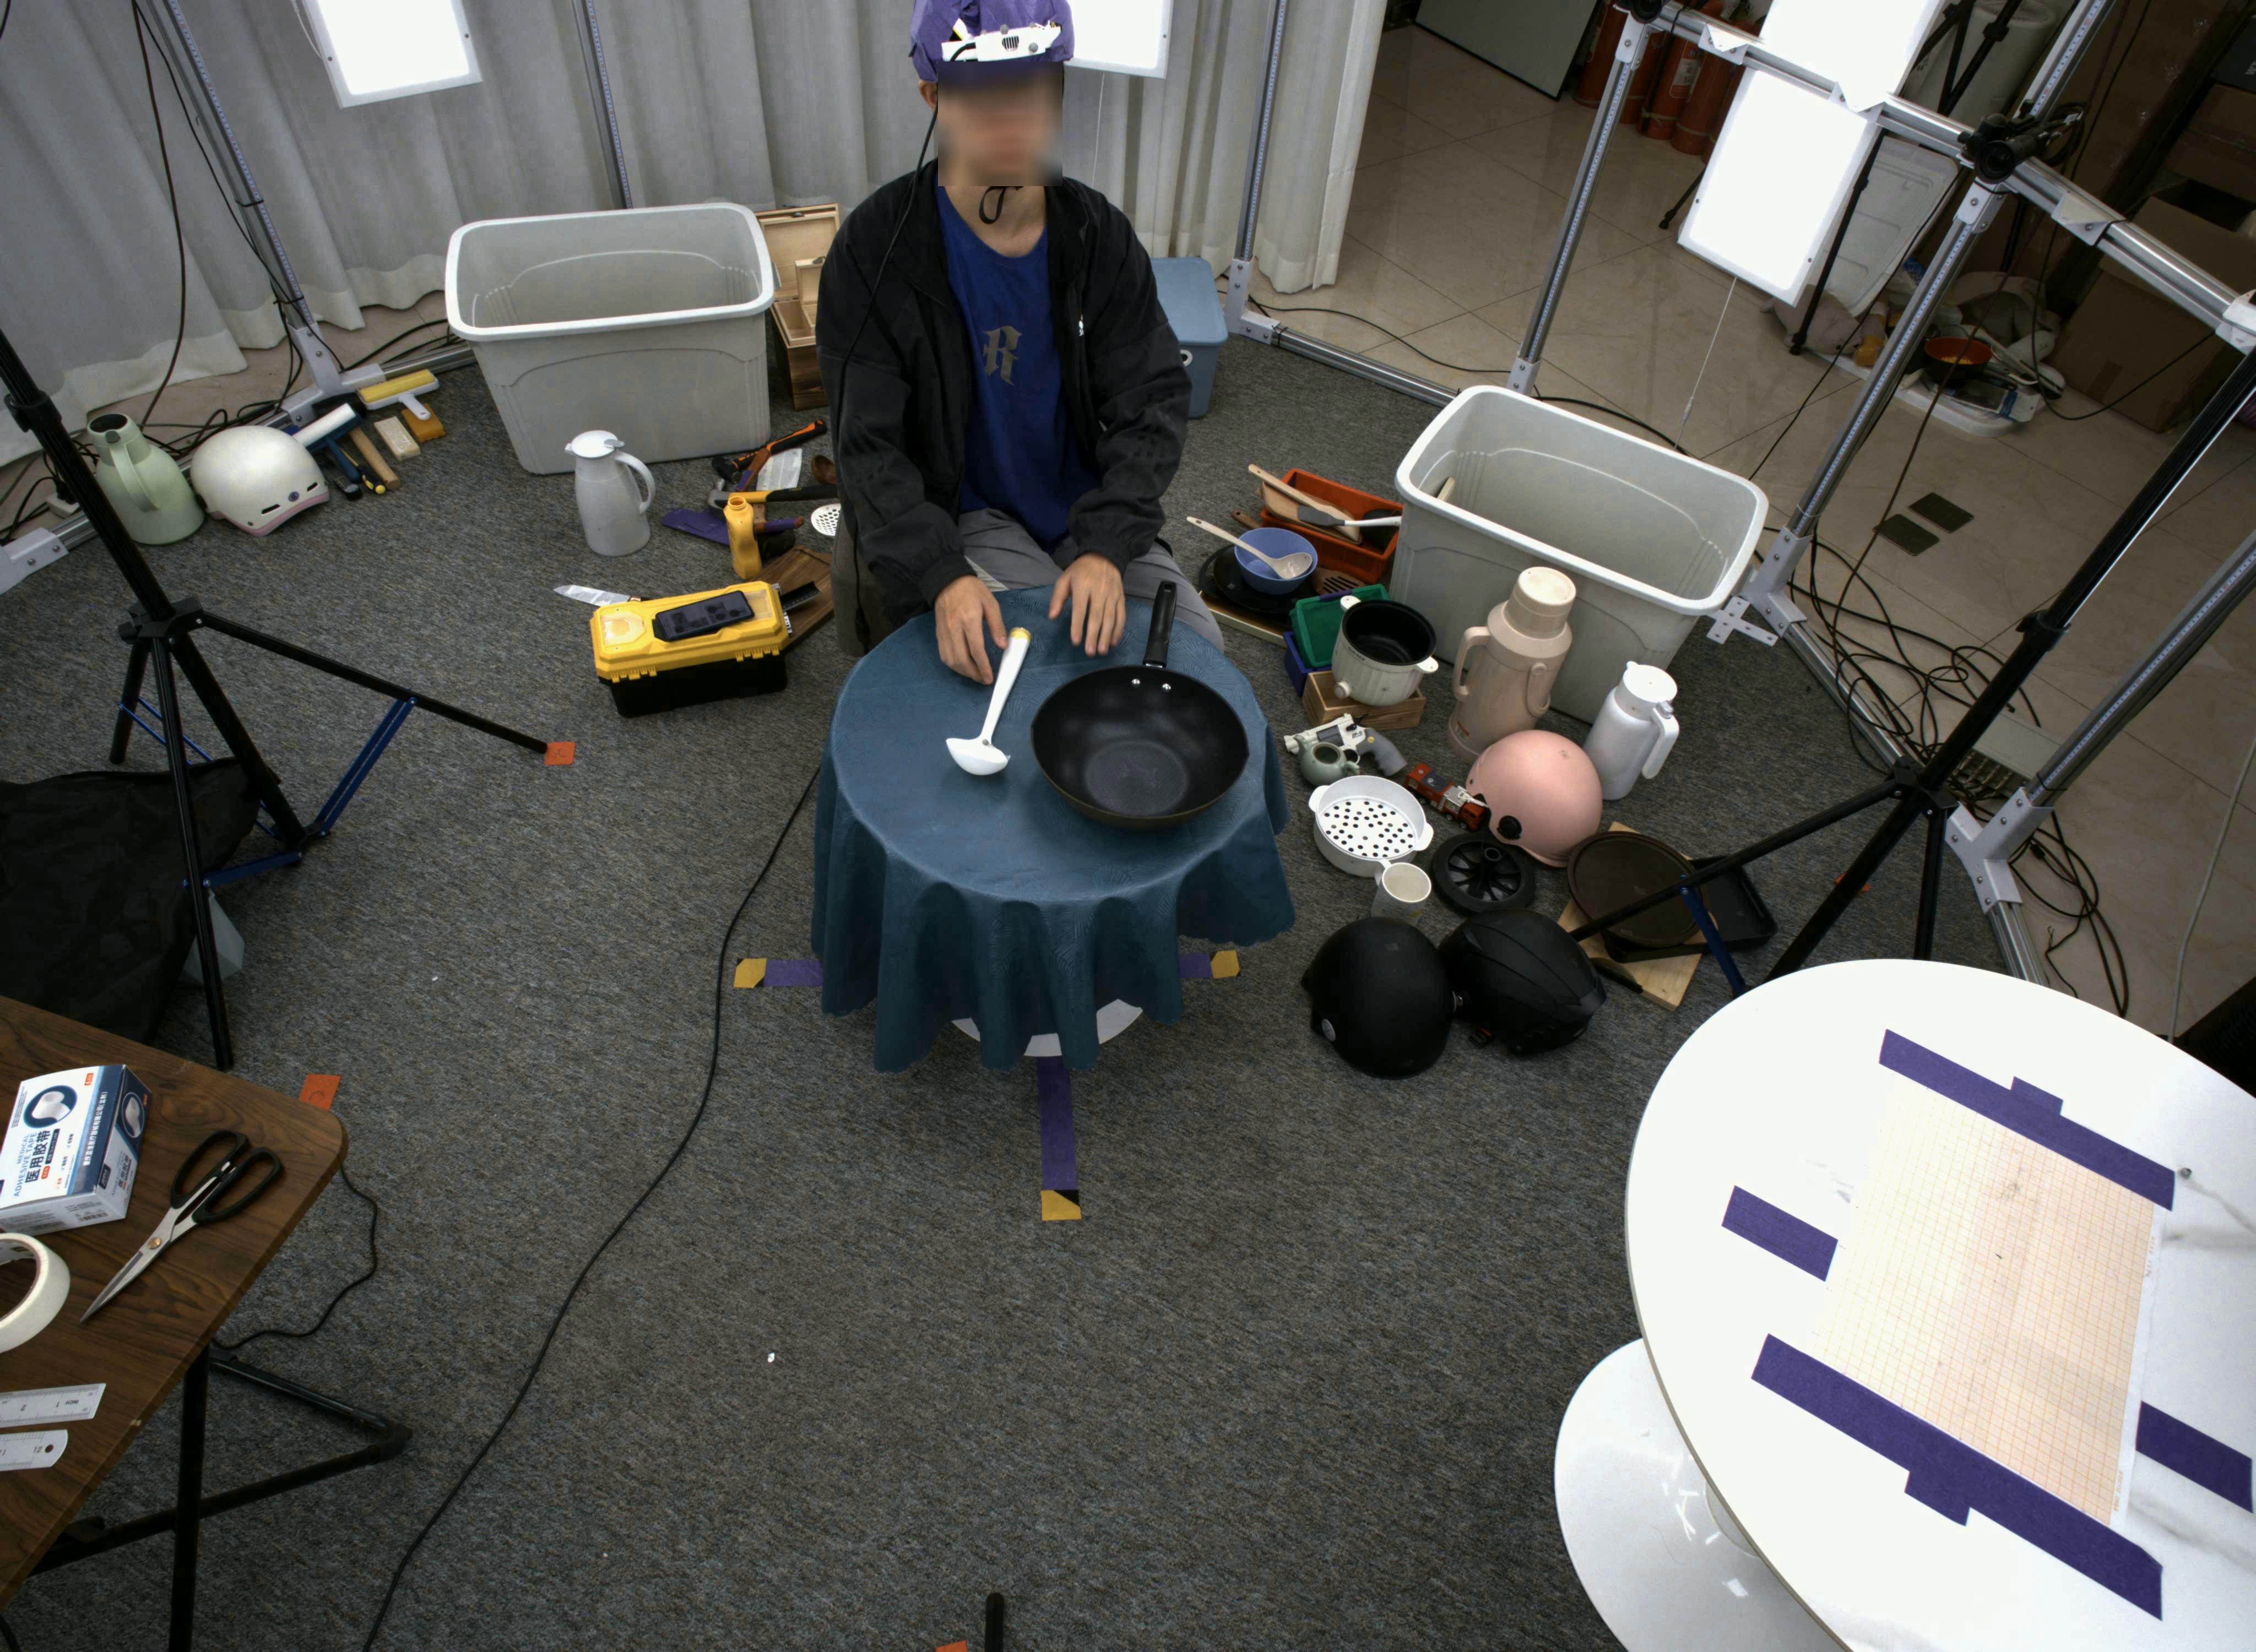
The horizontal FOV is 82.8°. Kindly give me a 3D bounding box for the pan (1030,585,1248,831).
[{"bbox_3d":[0.025,-0.159,1.760,0.288,0.085,0.474,8,48,3],"label":"pan"}]

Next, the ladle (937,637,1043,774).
[{"bbox_3d":[-0.176,-0.177,1.776,0.090,0.068,0.299,13,47,8],"label":"ladle"}]
